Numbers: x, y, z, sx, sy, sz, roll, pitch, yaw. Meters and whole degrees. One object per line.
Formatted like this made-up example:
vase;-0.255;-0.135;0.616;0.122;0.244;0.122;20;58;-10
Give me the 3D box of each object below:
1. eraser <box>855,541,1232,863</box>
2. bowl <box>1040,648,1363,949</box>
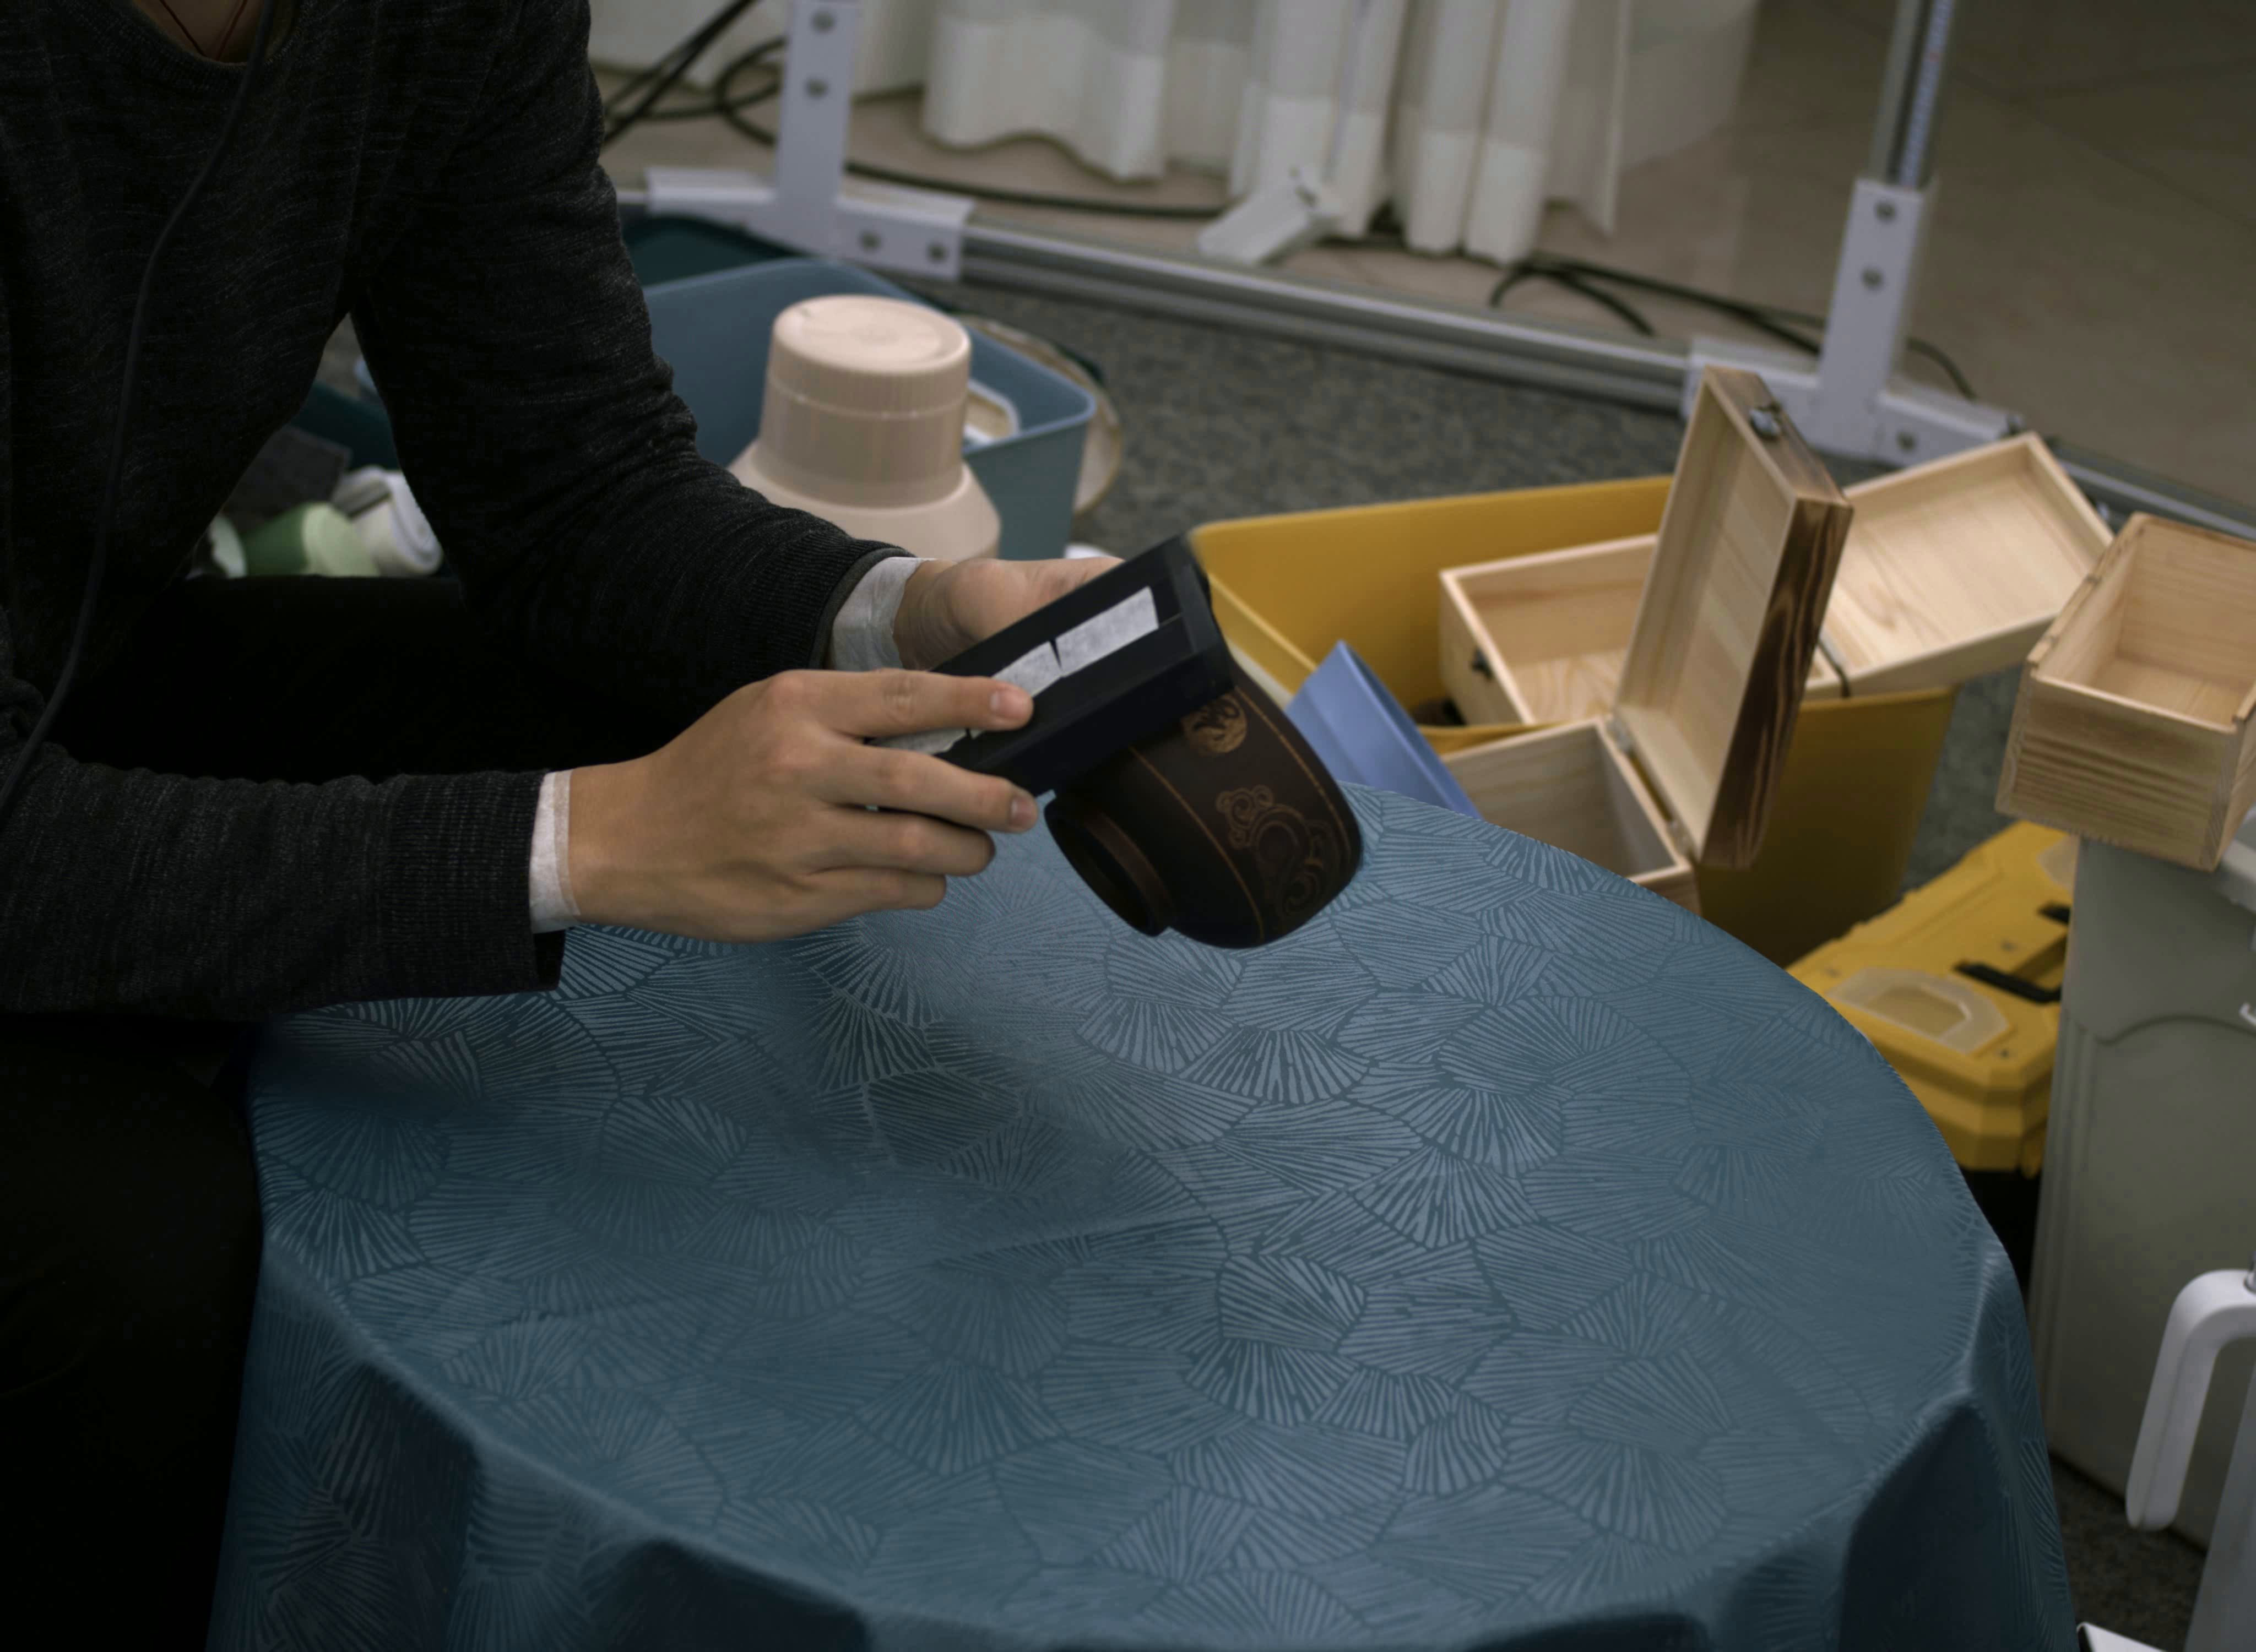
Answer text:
eraser;-0.028;-0.041;1.725;0.125;0.030;0.054;-30;48;15
bowl;0.015;-0.007;1.767;0.070;0.117;0.119;-41;44;-12
